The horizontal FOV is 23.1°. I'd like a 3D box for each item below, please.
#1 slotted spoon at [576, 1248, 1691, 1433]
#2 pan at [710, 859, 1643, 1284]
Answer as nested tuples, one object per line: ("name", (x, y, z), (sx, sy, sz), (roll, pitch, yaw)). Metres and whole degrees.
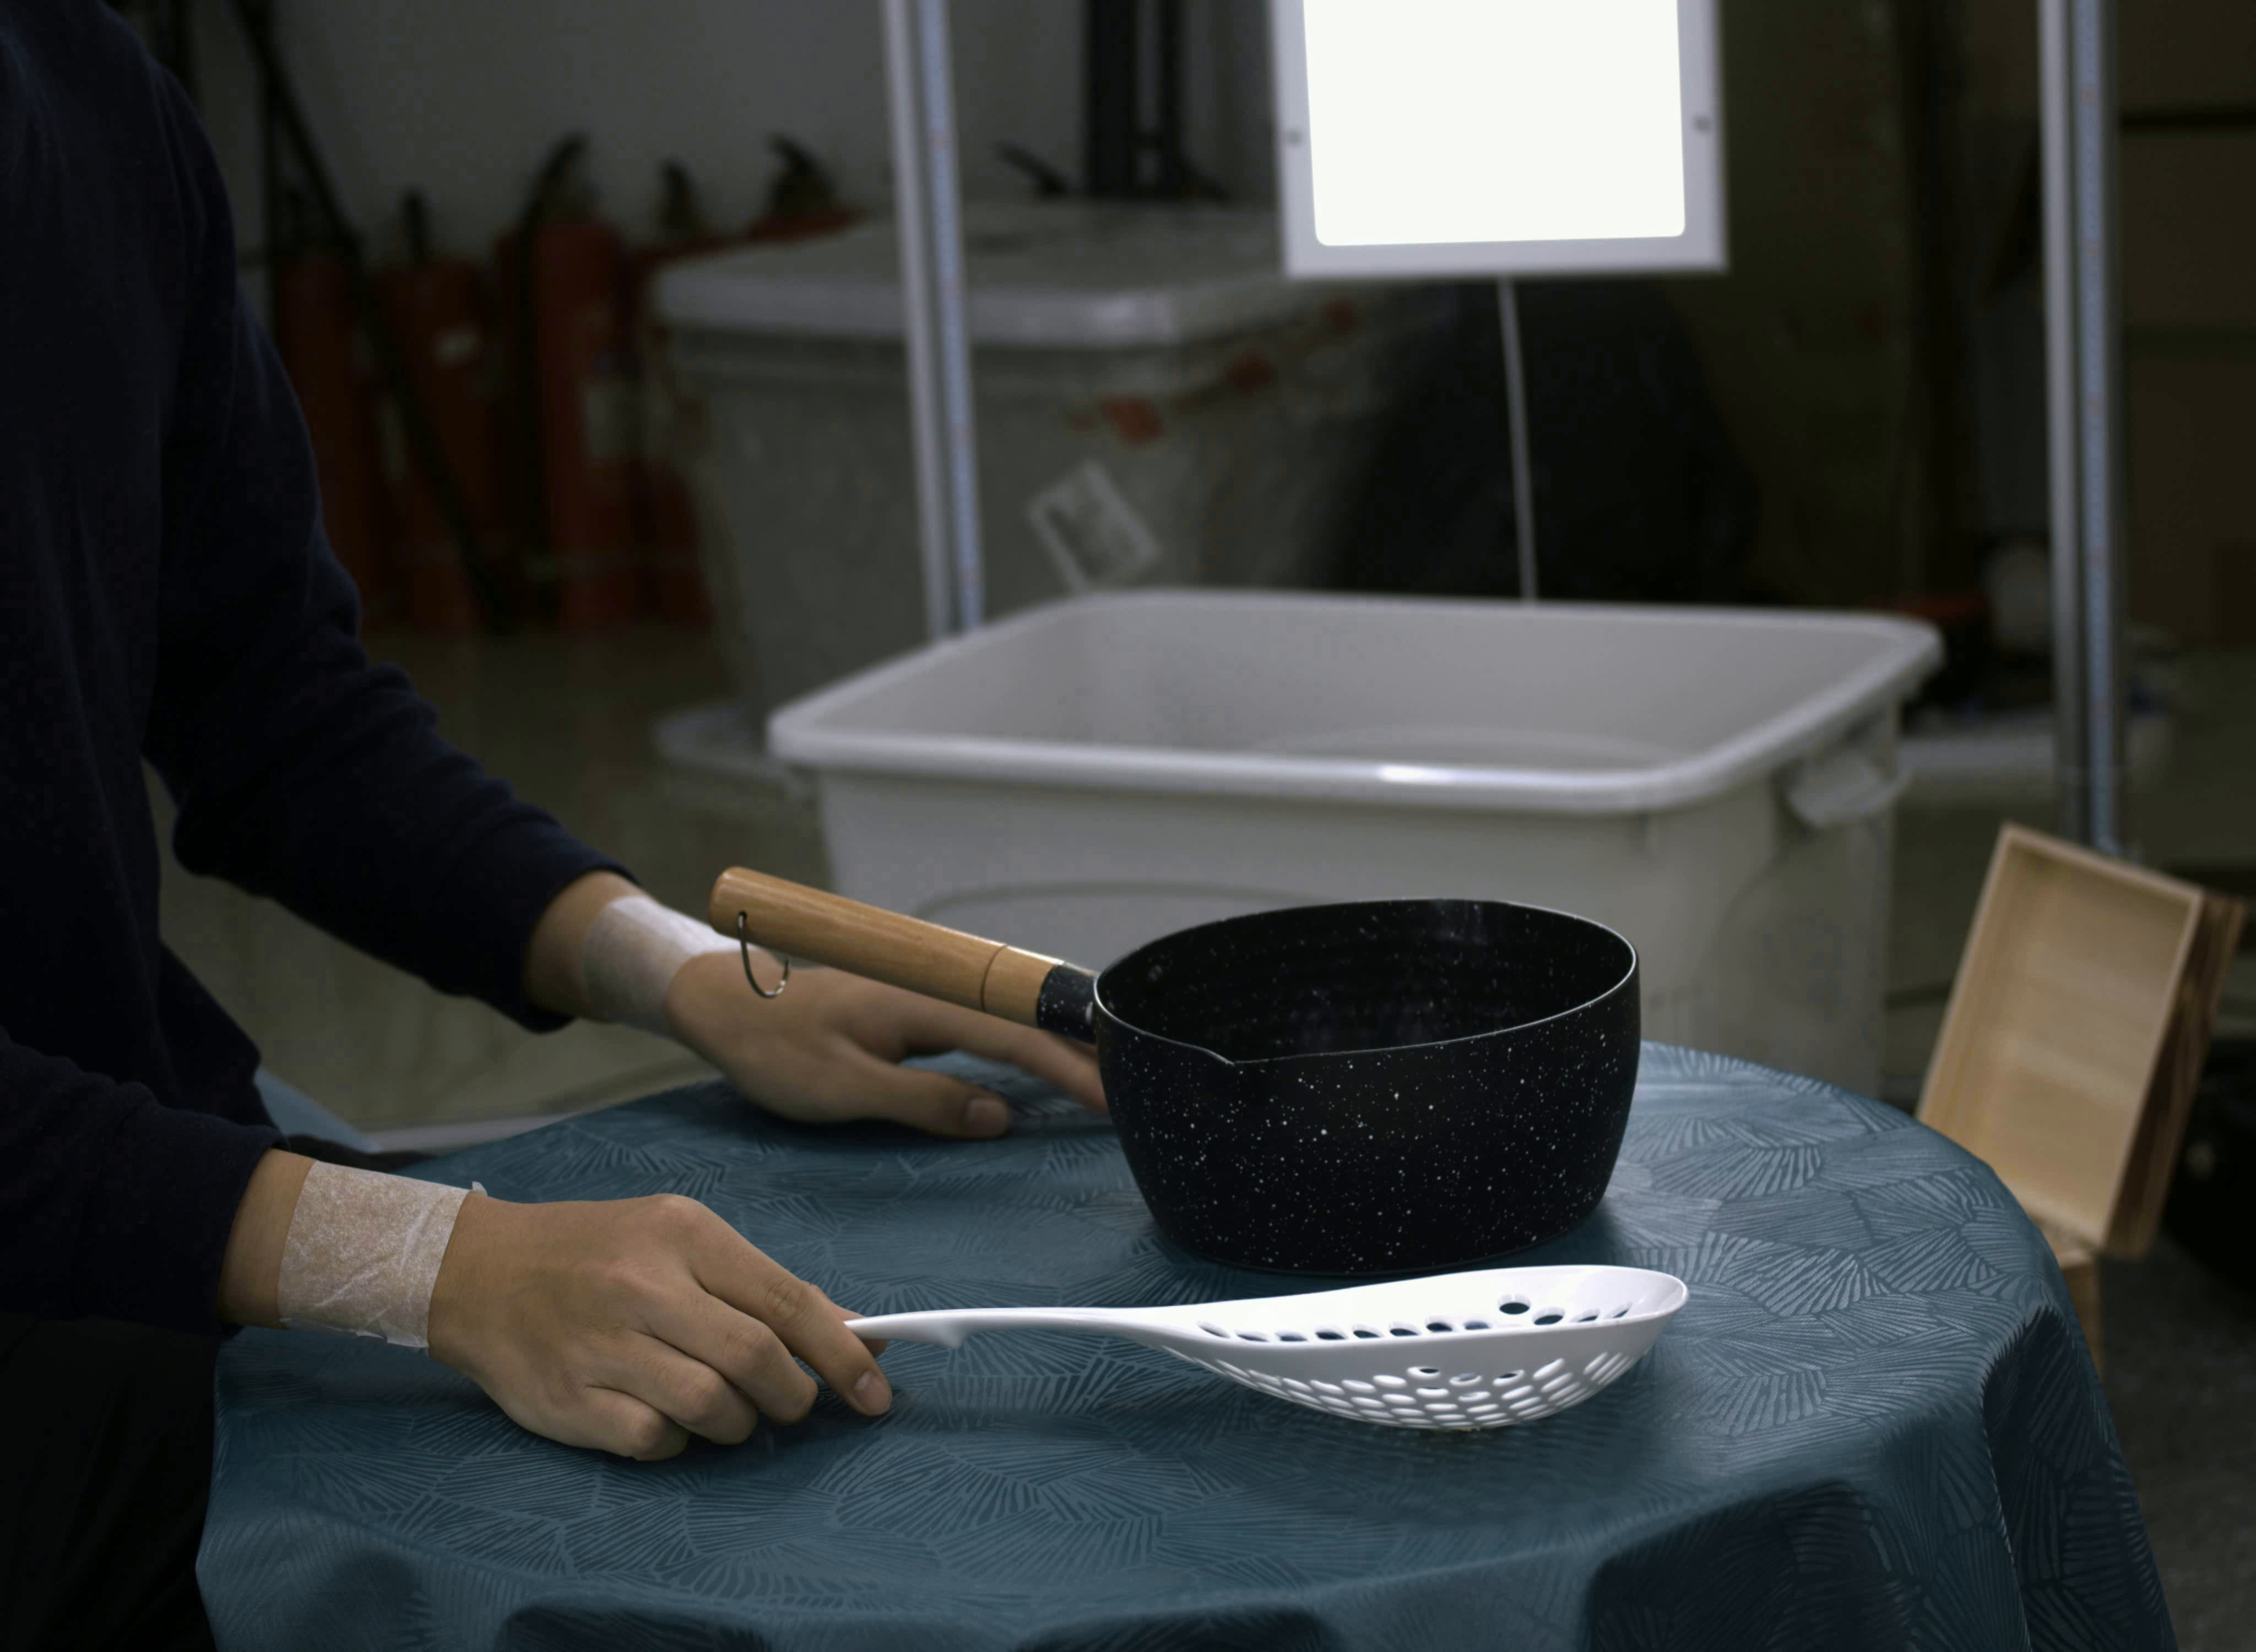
("slotted spoon", (-0.002, 0.159, 1.674), (0.352, 0.050, 0.135), (0, 5, 17))
("pan", (0.010, 0.074, 1.879), (0.348, 0.108, 0.203), (3, 17, 26))
